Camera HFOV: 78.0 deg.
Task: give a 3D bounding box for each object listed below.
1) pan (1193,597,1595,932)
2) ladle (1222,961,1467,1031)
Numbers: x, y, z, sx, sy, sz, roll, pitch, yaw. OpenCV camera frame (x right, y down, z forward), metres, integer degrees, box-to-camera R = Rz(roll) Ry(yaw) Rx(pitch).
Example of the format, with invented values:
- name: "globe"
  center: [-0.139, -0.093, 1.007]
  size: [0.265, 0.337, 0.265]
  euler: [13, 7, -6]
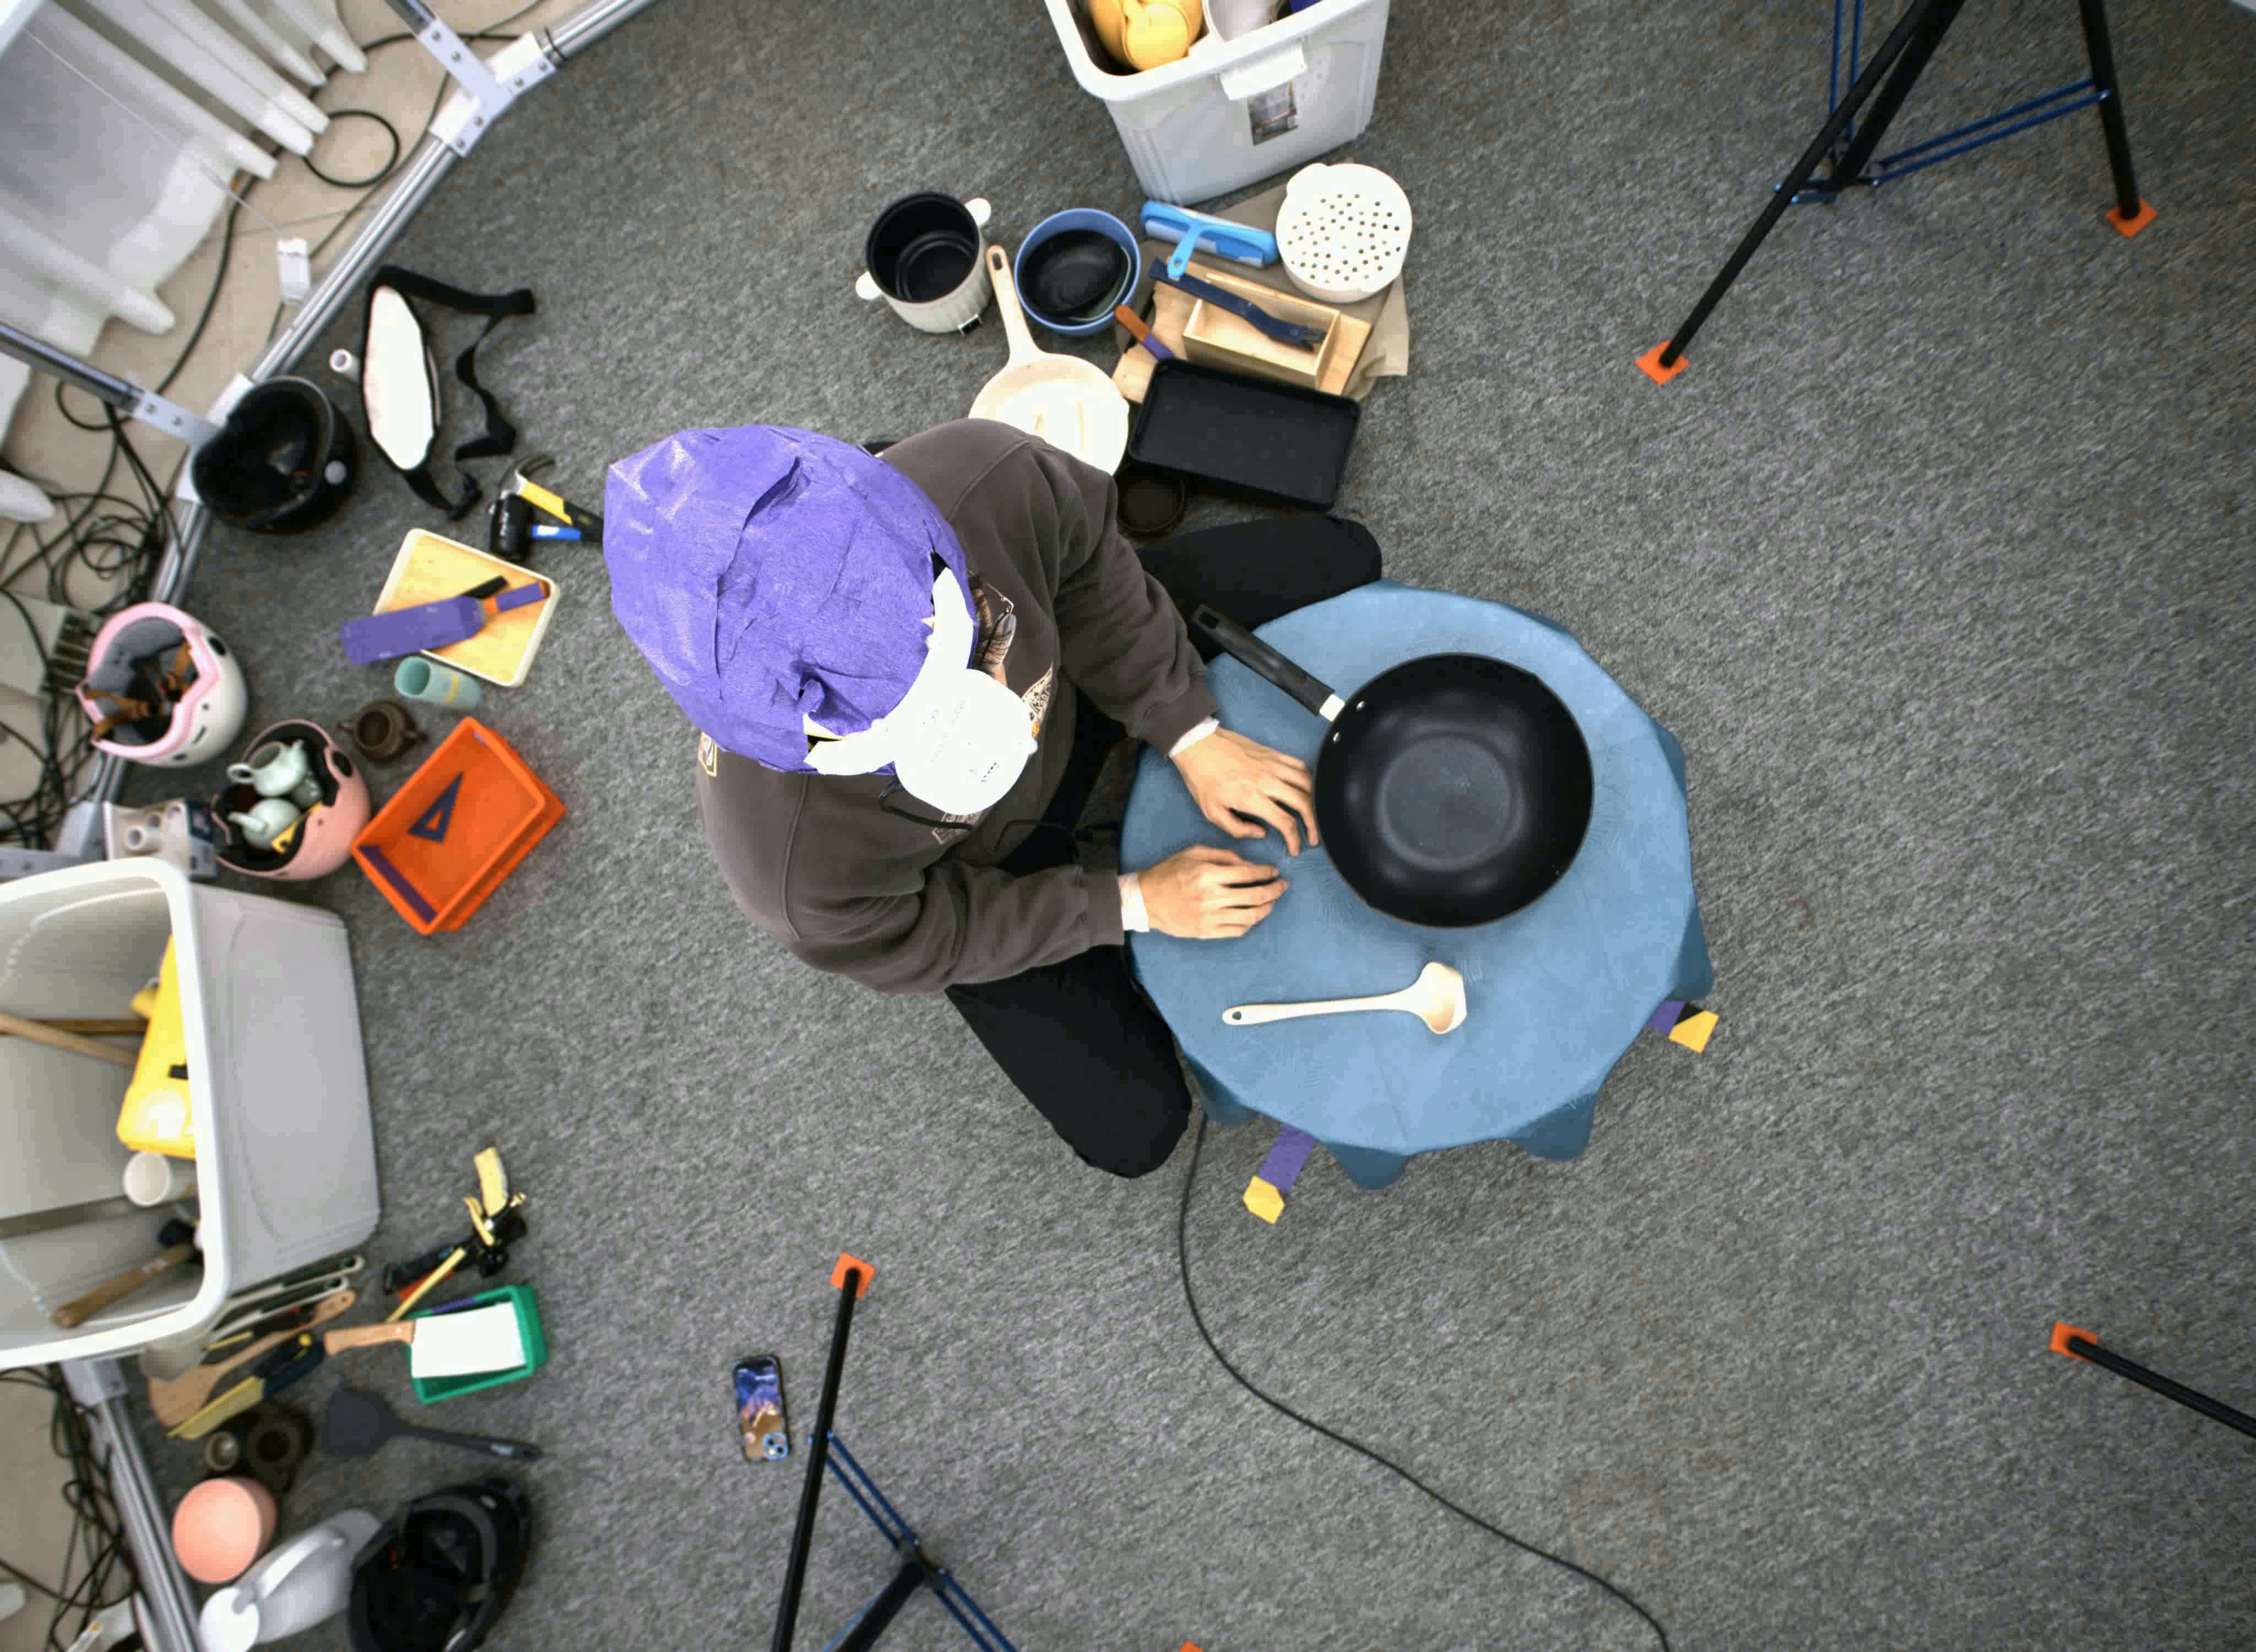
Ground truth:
- name: "pan"
  center: [0.256, -0.086, 1.426]
  size: [0.462, 0.087, 0.289]
  euler: [37, 94, 11]
- name: "ladle"
  center: [0.219, 0.188, 1.425]
  size: [0.256, 0.072, 0.072]
  euler: [-9, 89, 9]
